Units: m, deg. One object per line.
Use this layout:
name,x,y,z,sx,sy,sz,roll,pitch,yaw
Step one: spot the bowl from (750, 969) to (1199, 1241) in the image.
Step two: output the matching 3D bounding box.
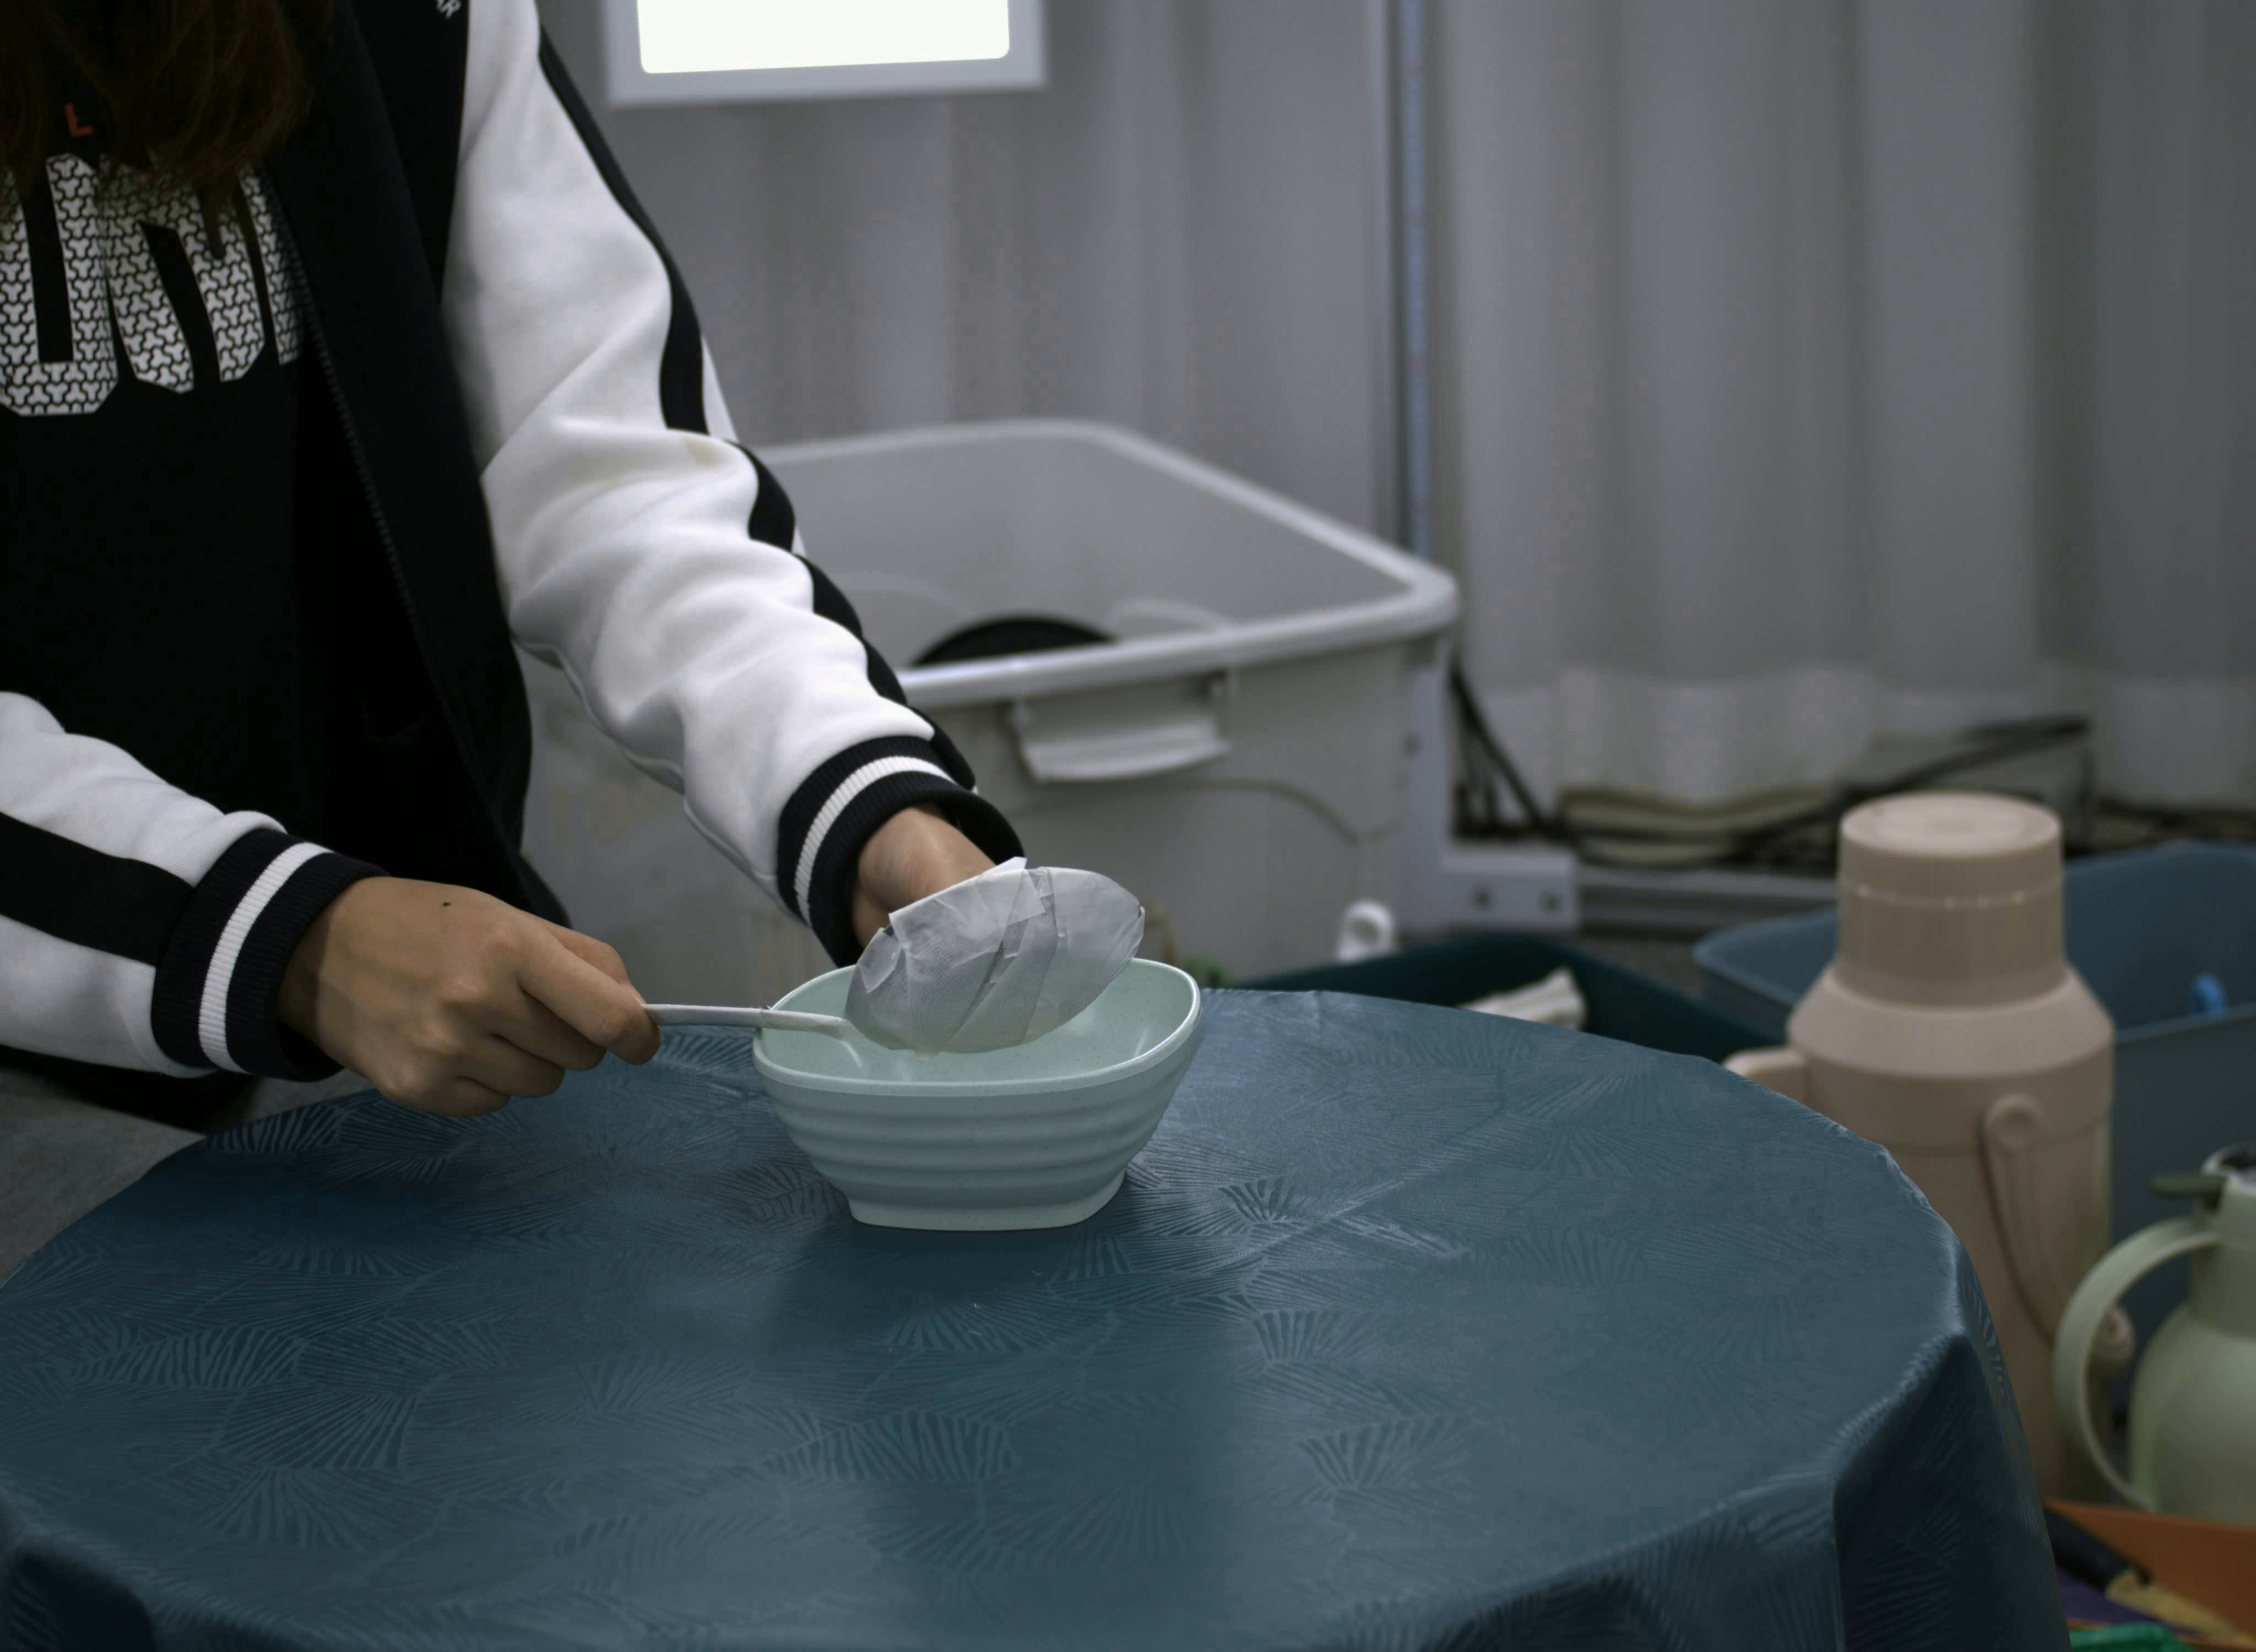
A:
bowl,-0.046,0.090,1.718,0.151,0.058,0.152,-3,14,0

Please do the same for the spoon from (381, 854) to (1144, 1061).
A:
spoon,-0.120,0.041,1.727,0.278,0.060,0.099,1,-28,35
